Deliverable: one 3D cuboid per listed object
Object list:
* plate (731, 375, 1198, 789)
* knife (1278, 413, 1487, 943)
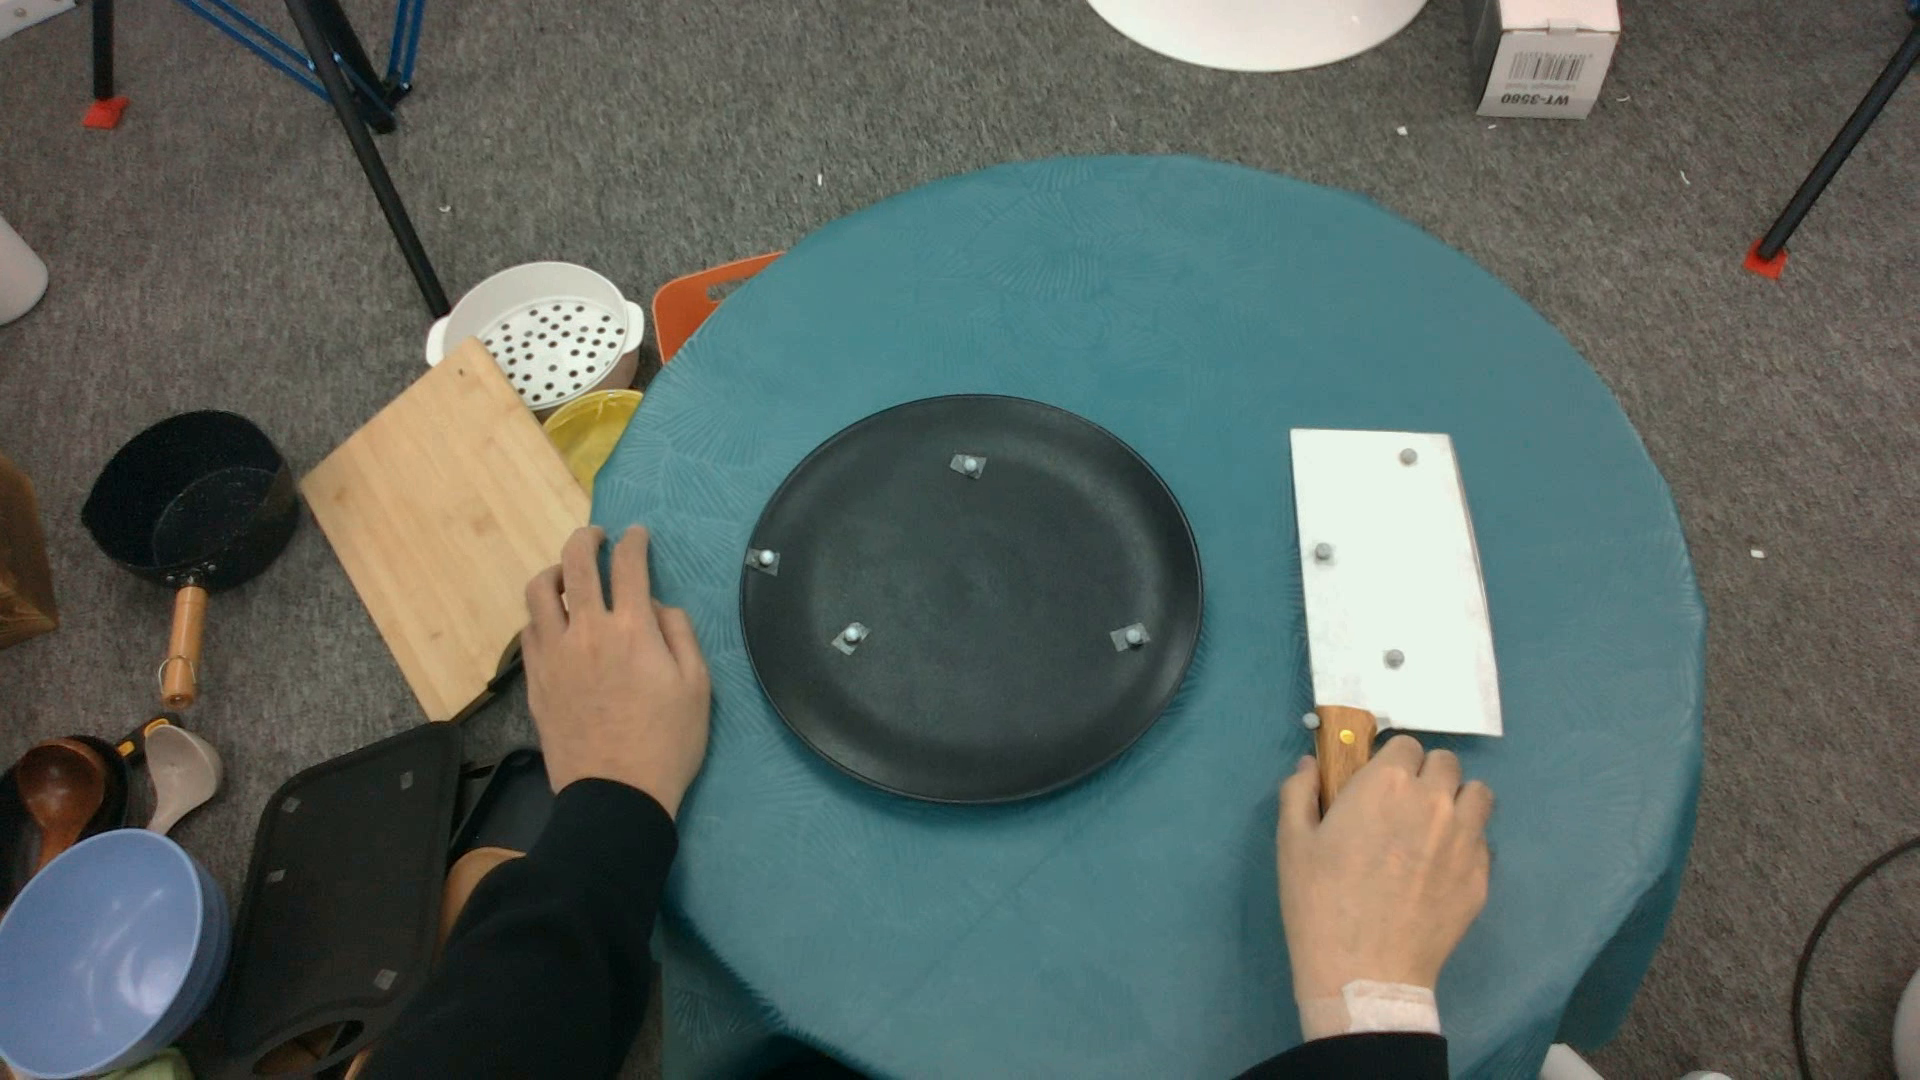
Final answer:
[{"bbox_3d":[0.002,0.017,0.724,0.244,0.023,0.245,0,60,1],"label":"plate"},{"bbox_3d":[0.215,0.053,0.696,0.093,0.021,0.307,3,55,2],"label":"knife"}]
